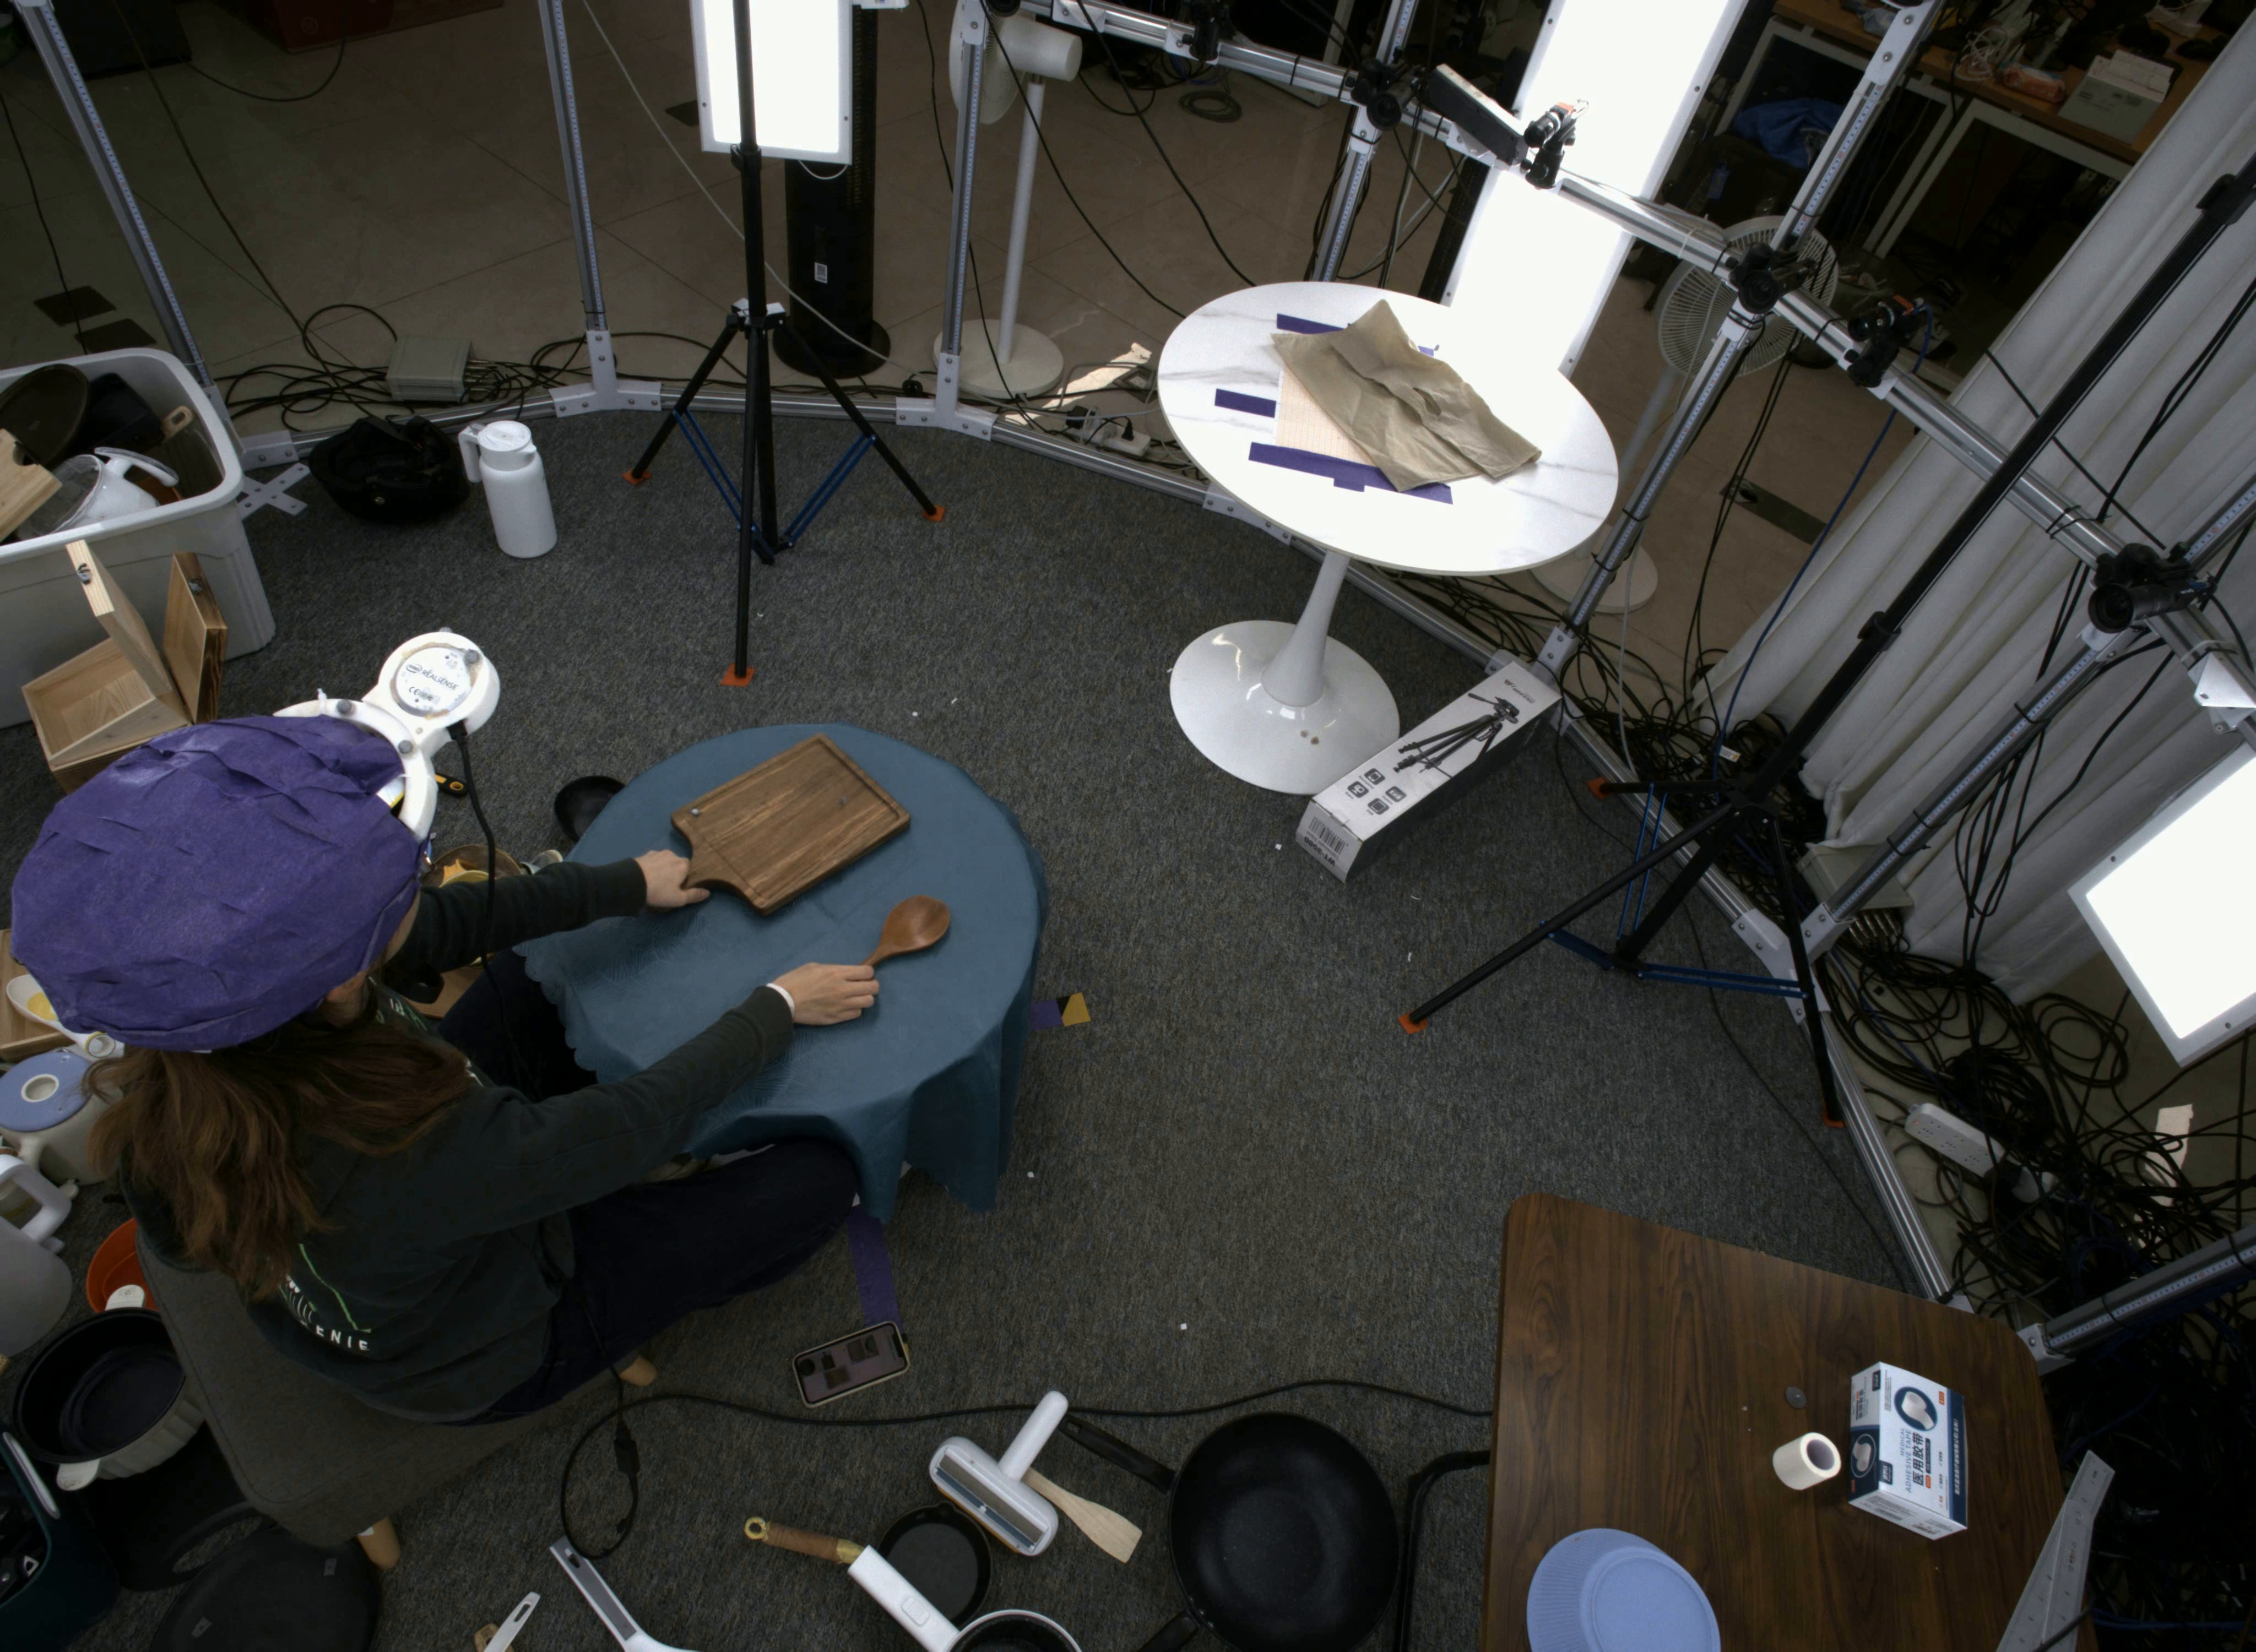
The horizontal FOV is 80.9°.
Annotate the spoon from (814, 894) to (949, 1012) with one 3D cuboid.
[{"bbox_3d":[-0.310,0.158,1.629,0.074,0.017,0.216,39,53,13],"label":"spoon"}]

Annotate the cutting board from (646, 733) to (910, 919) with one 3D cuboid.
[{"bbox_3d":[-0.476,0.015,1.683,0.197,0.023,0.353,42,53,16],"label":"cutting board"}]
